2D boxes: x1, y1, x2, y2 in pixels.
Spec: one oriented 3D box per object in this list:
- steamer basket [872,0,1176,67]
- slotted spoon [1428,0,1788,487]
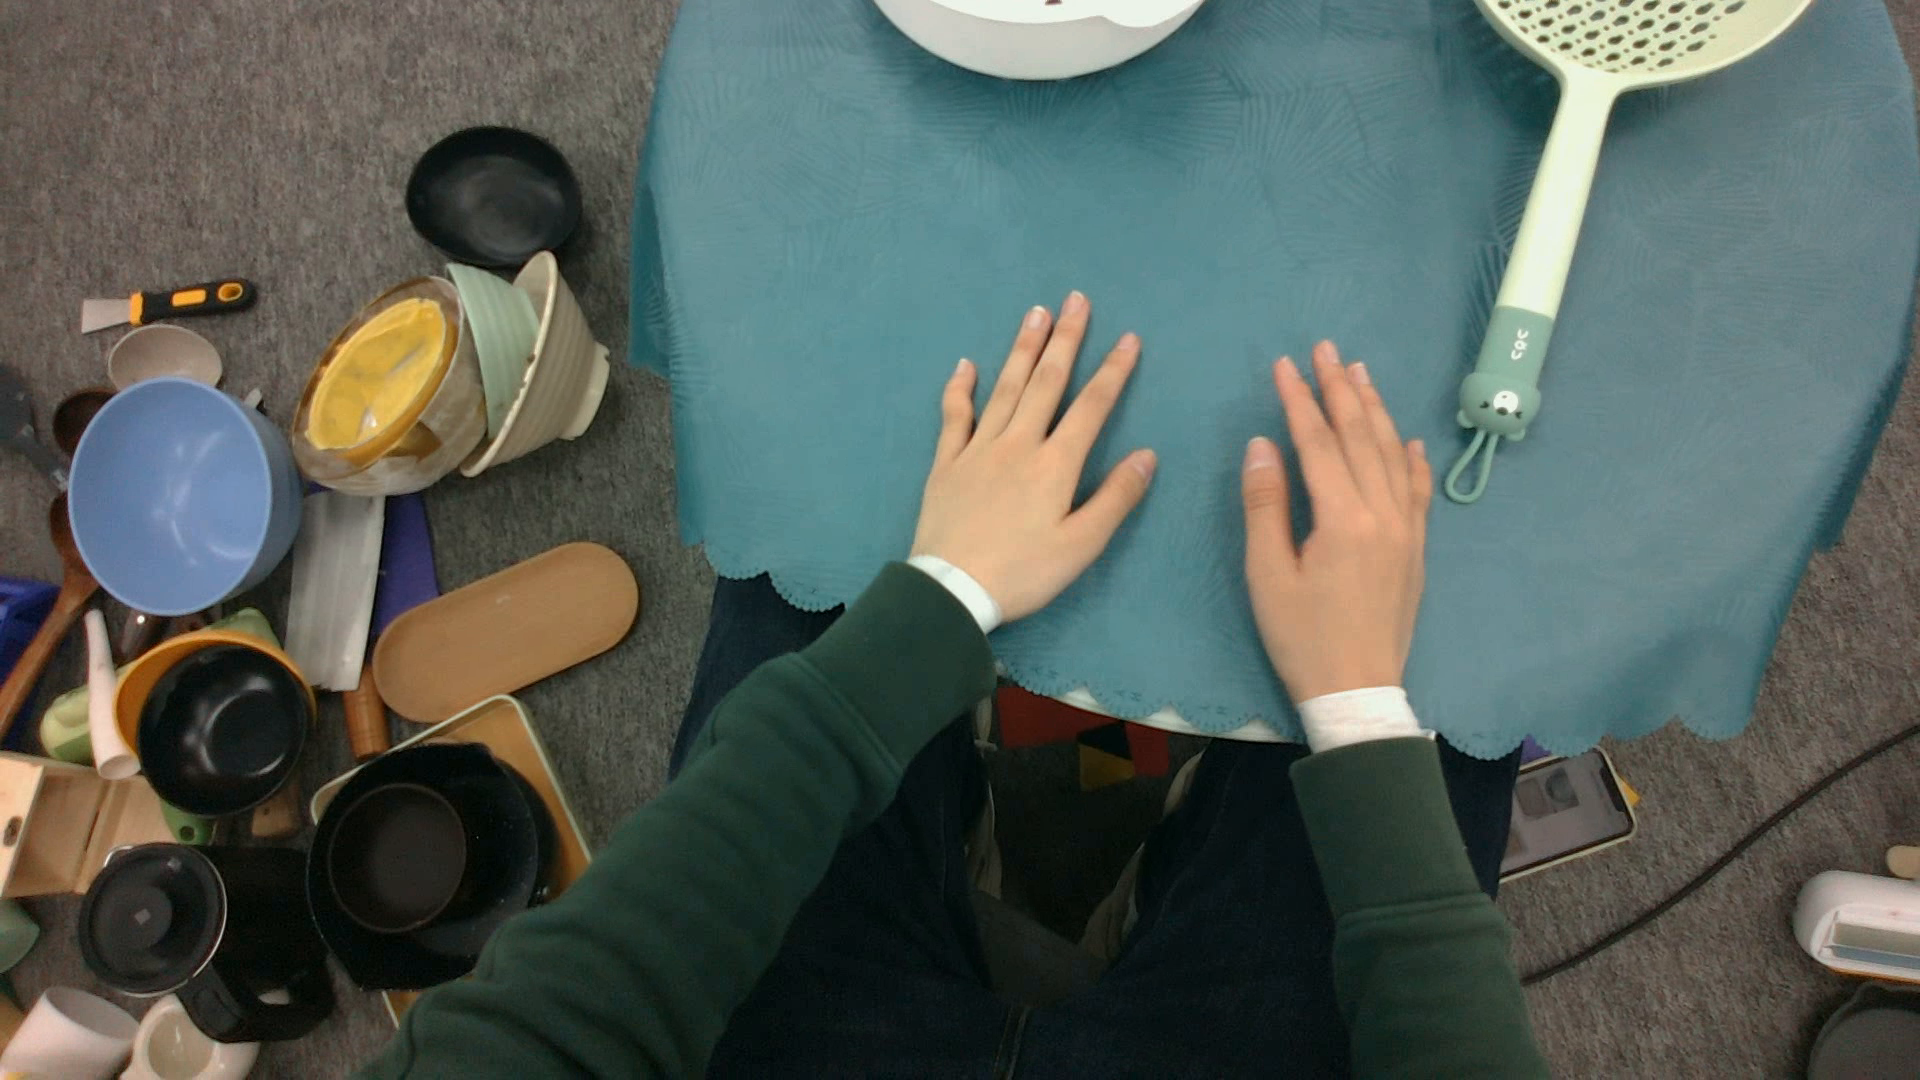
[{"bbox_3d":[0.032,-0.329,0.668,0.202,0.069,0.231,-37,77,-5],"label":"steamer basket"},{"bbox_3d":[0.273,-0.198,0.622,0.169,0.075,0.359,17,77,8],"label":"slotted spoon"}]
